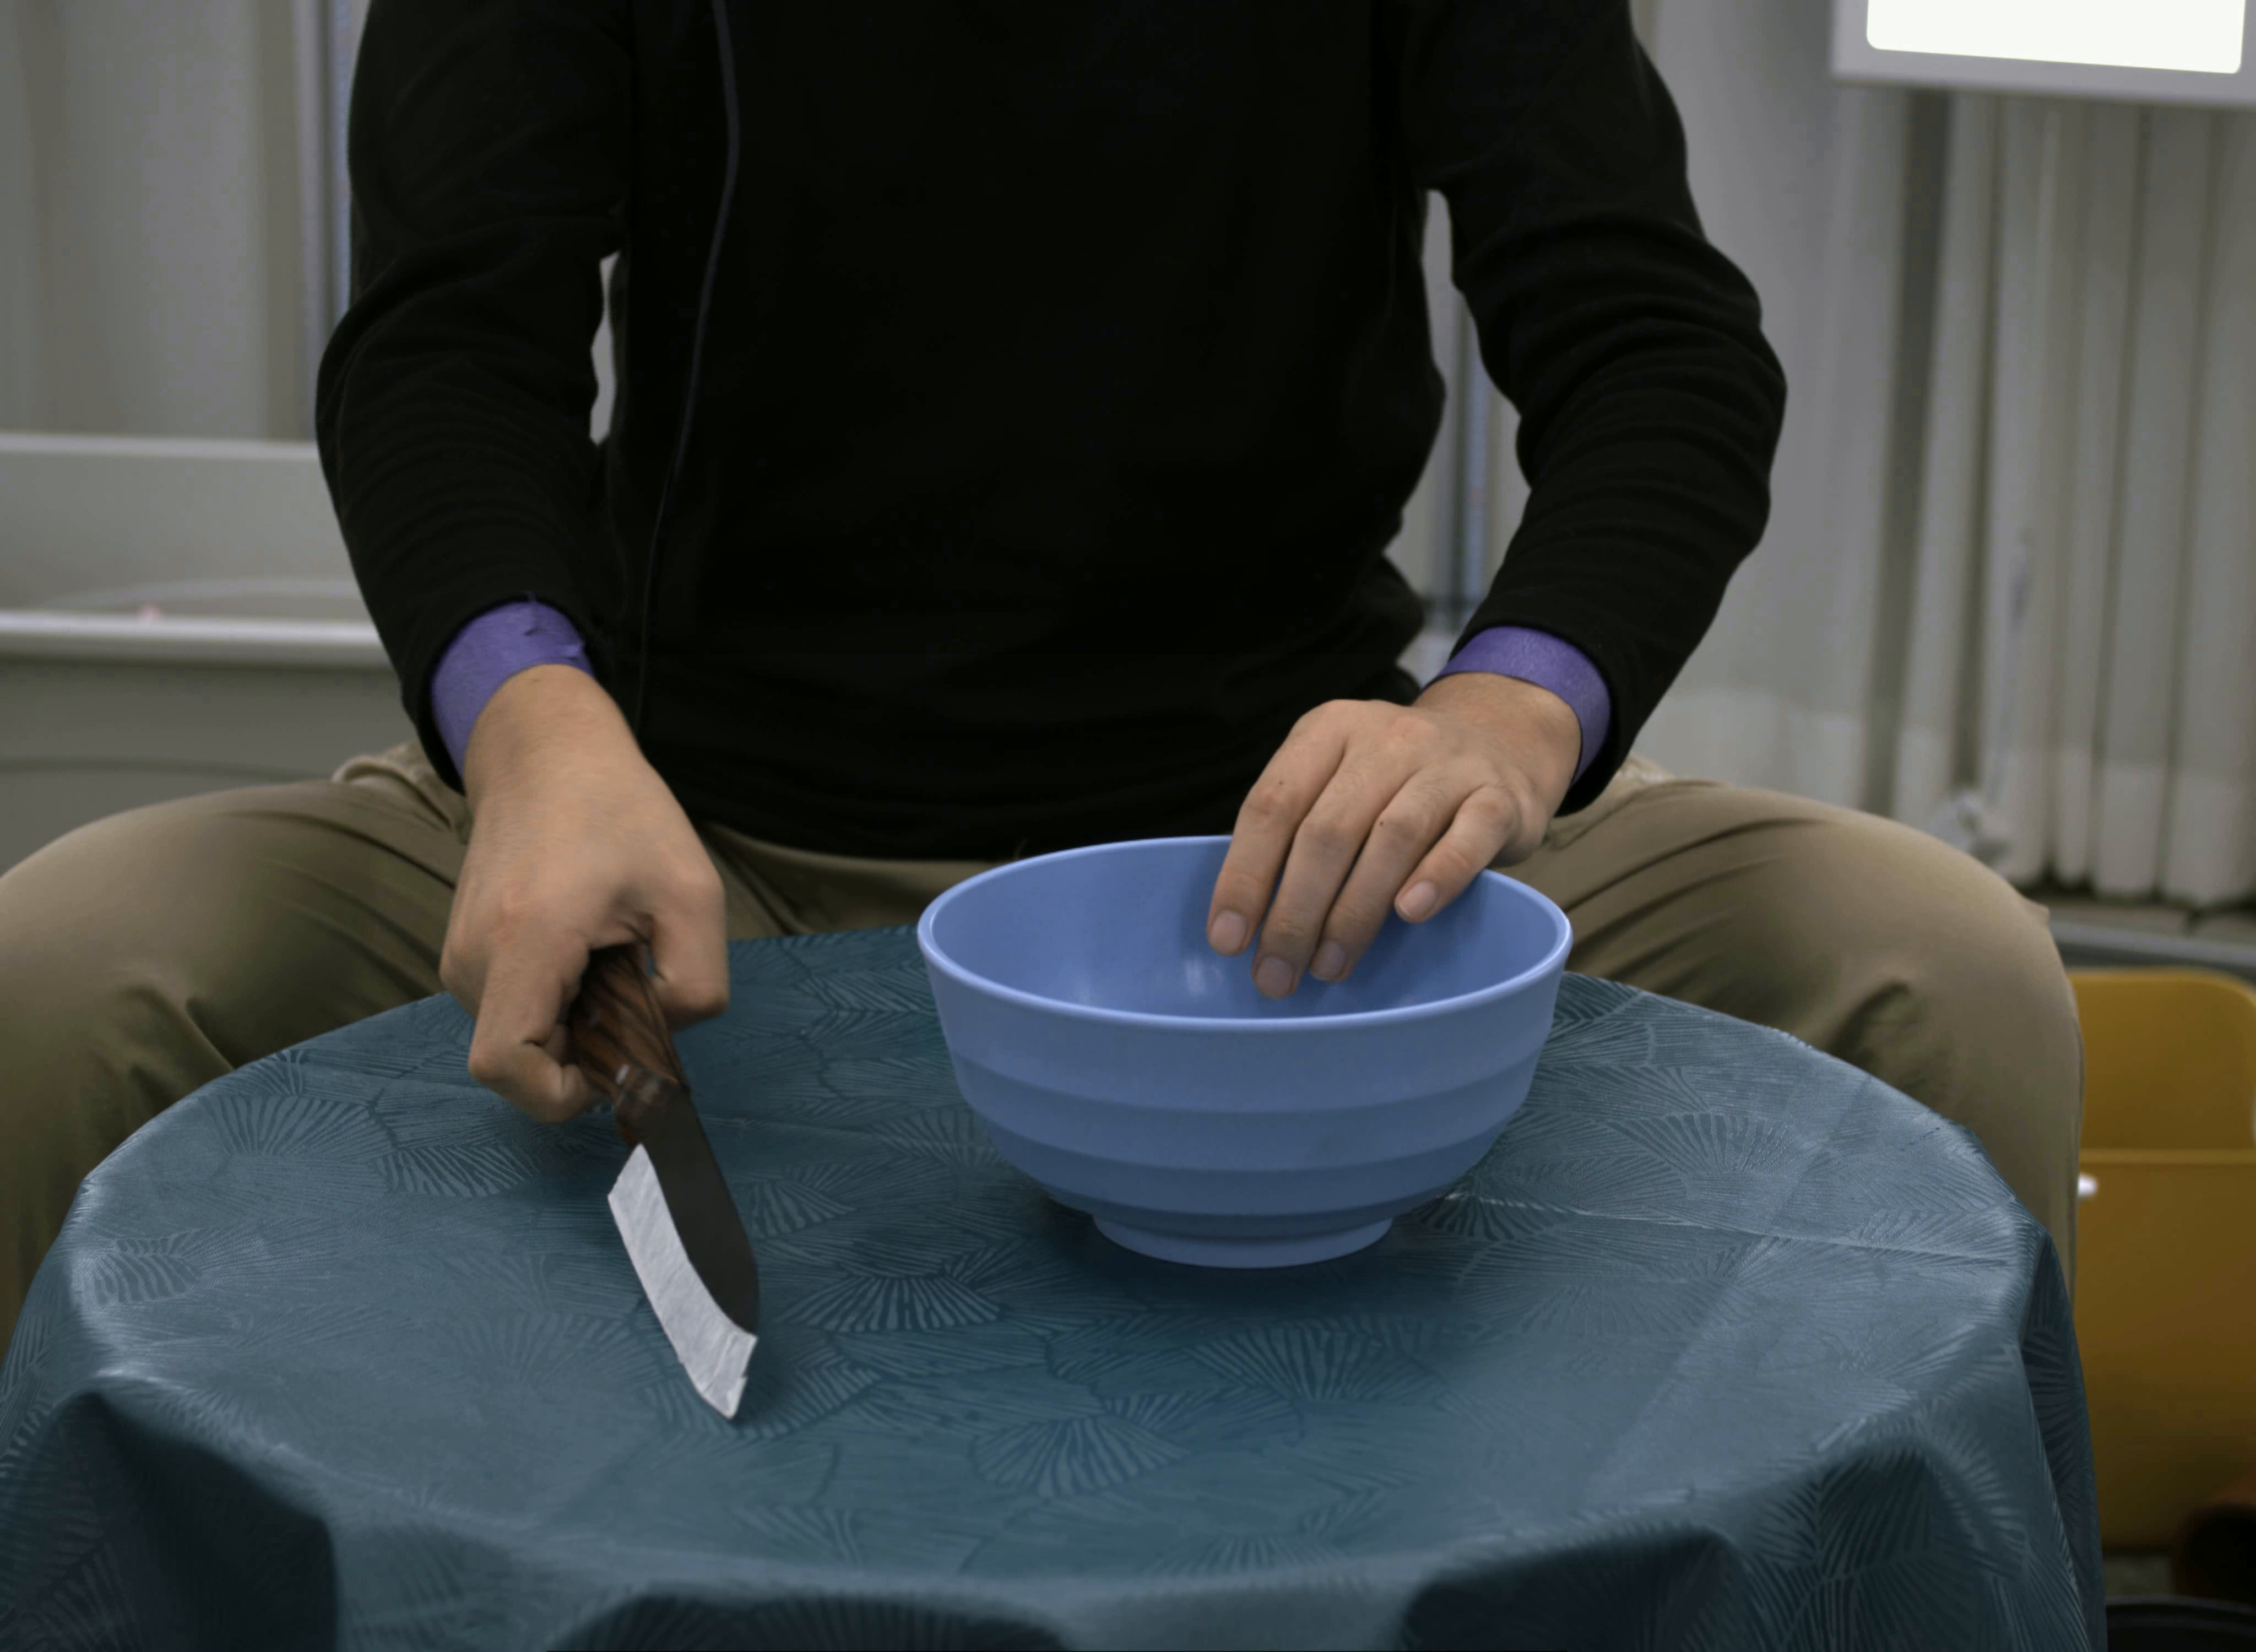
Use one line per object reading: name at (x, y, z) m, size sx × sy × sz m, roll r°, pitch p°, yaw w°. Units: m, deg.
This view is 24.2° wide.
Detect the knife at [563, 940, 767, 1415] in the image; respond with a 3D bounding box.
knife at (-0.137, 0.100, 1.557) m, size 0.020 × 0.050 × 0.286 m, roll 28°, pitch 14°, yaw -23°

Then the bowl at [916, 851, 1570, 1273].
bowl at (0.035, 0.075, 1.587) m, size 0.196 × 0.096 × 0.195 m, roll 0°, pitch 14°, yaw 1°
